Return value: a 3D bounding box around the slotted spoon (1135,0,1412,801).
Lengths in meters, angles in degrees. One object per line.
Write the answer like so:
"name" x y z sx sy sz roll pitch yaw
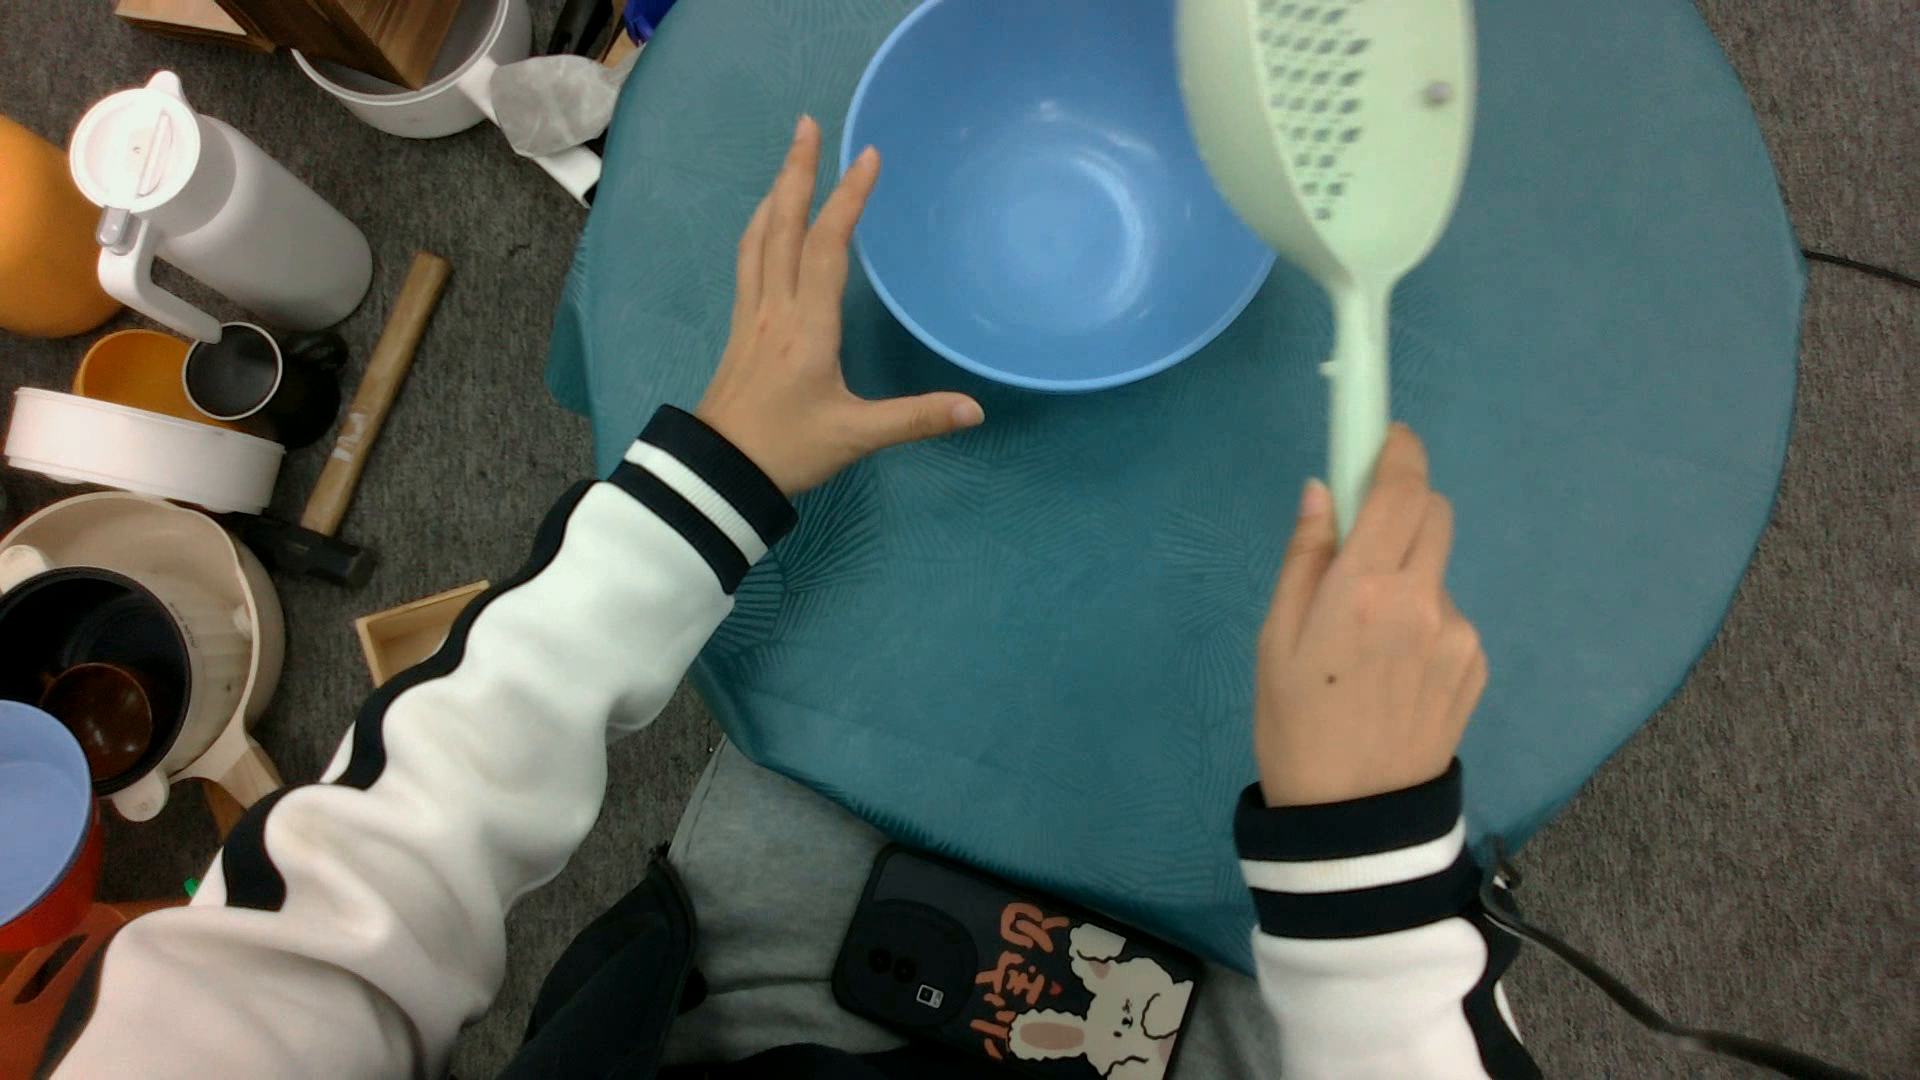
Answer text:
"slotted spoon" 0.126 -0.086 0.502 0.075 0.170 0.359 -12 86 40

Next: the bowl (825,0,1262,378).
"bowl" 0.040 -0.160 0.640 0.196 0.095 0.197 0 81 0
